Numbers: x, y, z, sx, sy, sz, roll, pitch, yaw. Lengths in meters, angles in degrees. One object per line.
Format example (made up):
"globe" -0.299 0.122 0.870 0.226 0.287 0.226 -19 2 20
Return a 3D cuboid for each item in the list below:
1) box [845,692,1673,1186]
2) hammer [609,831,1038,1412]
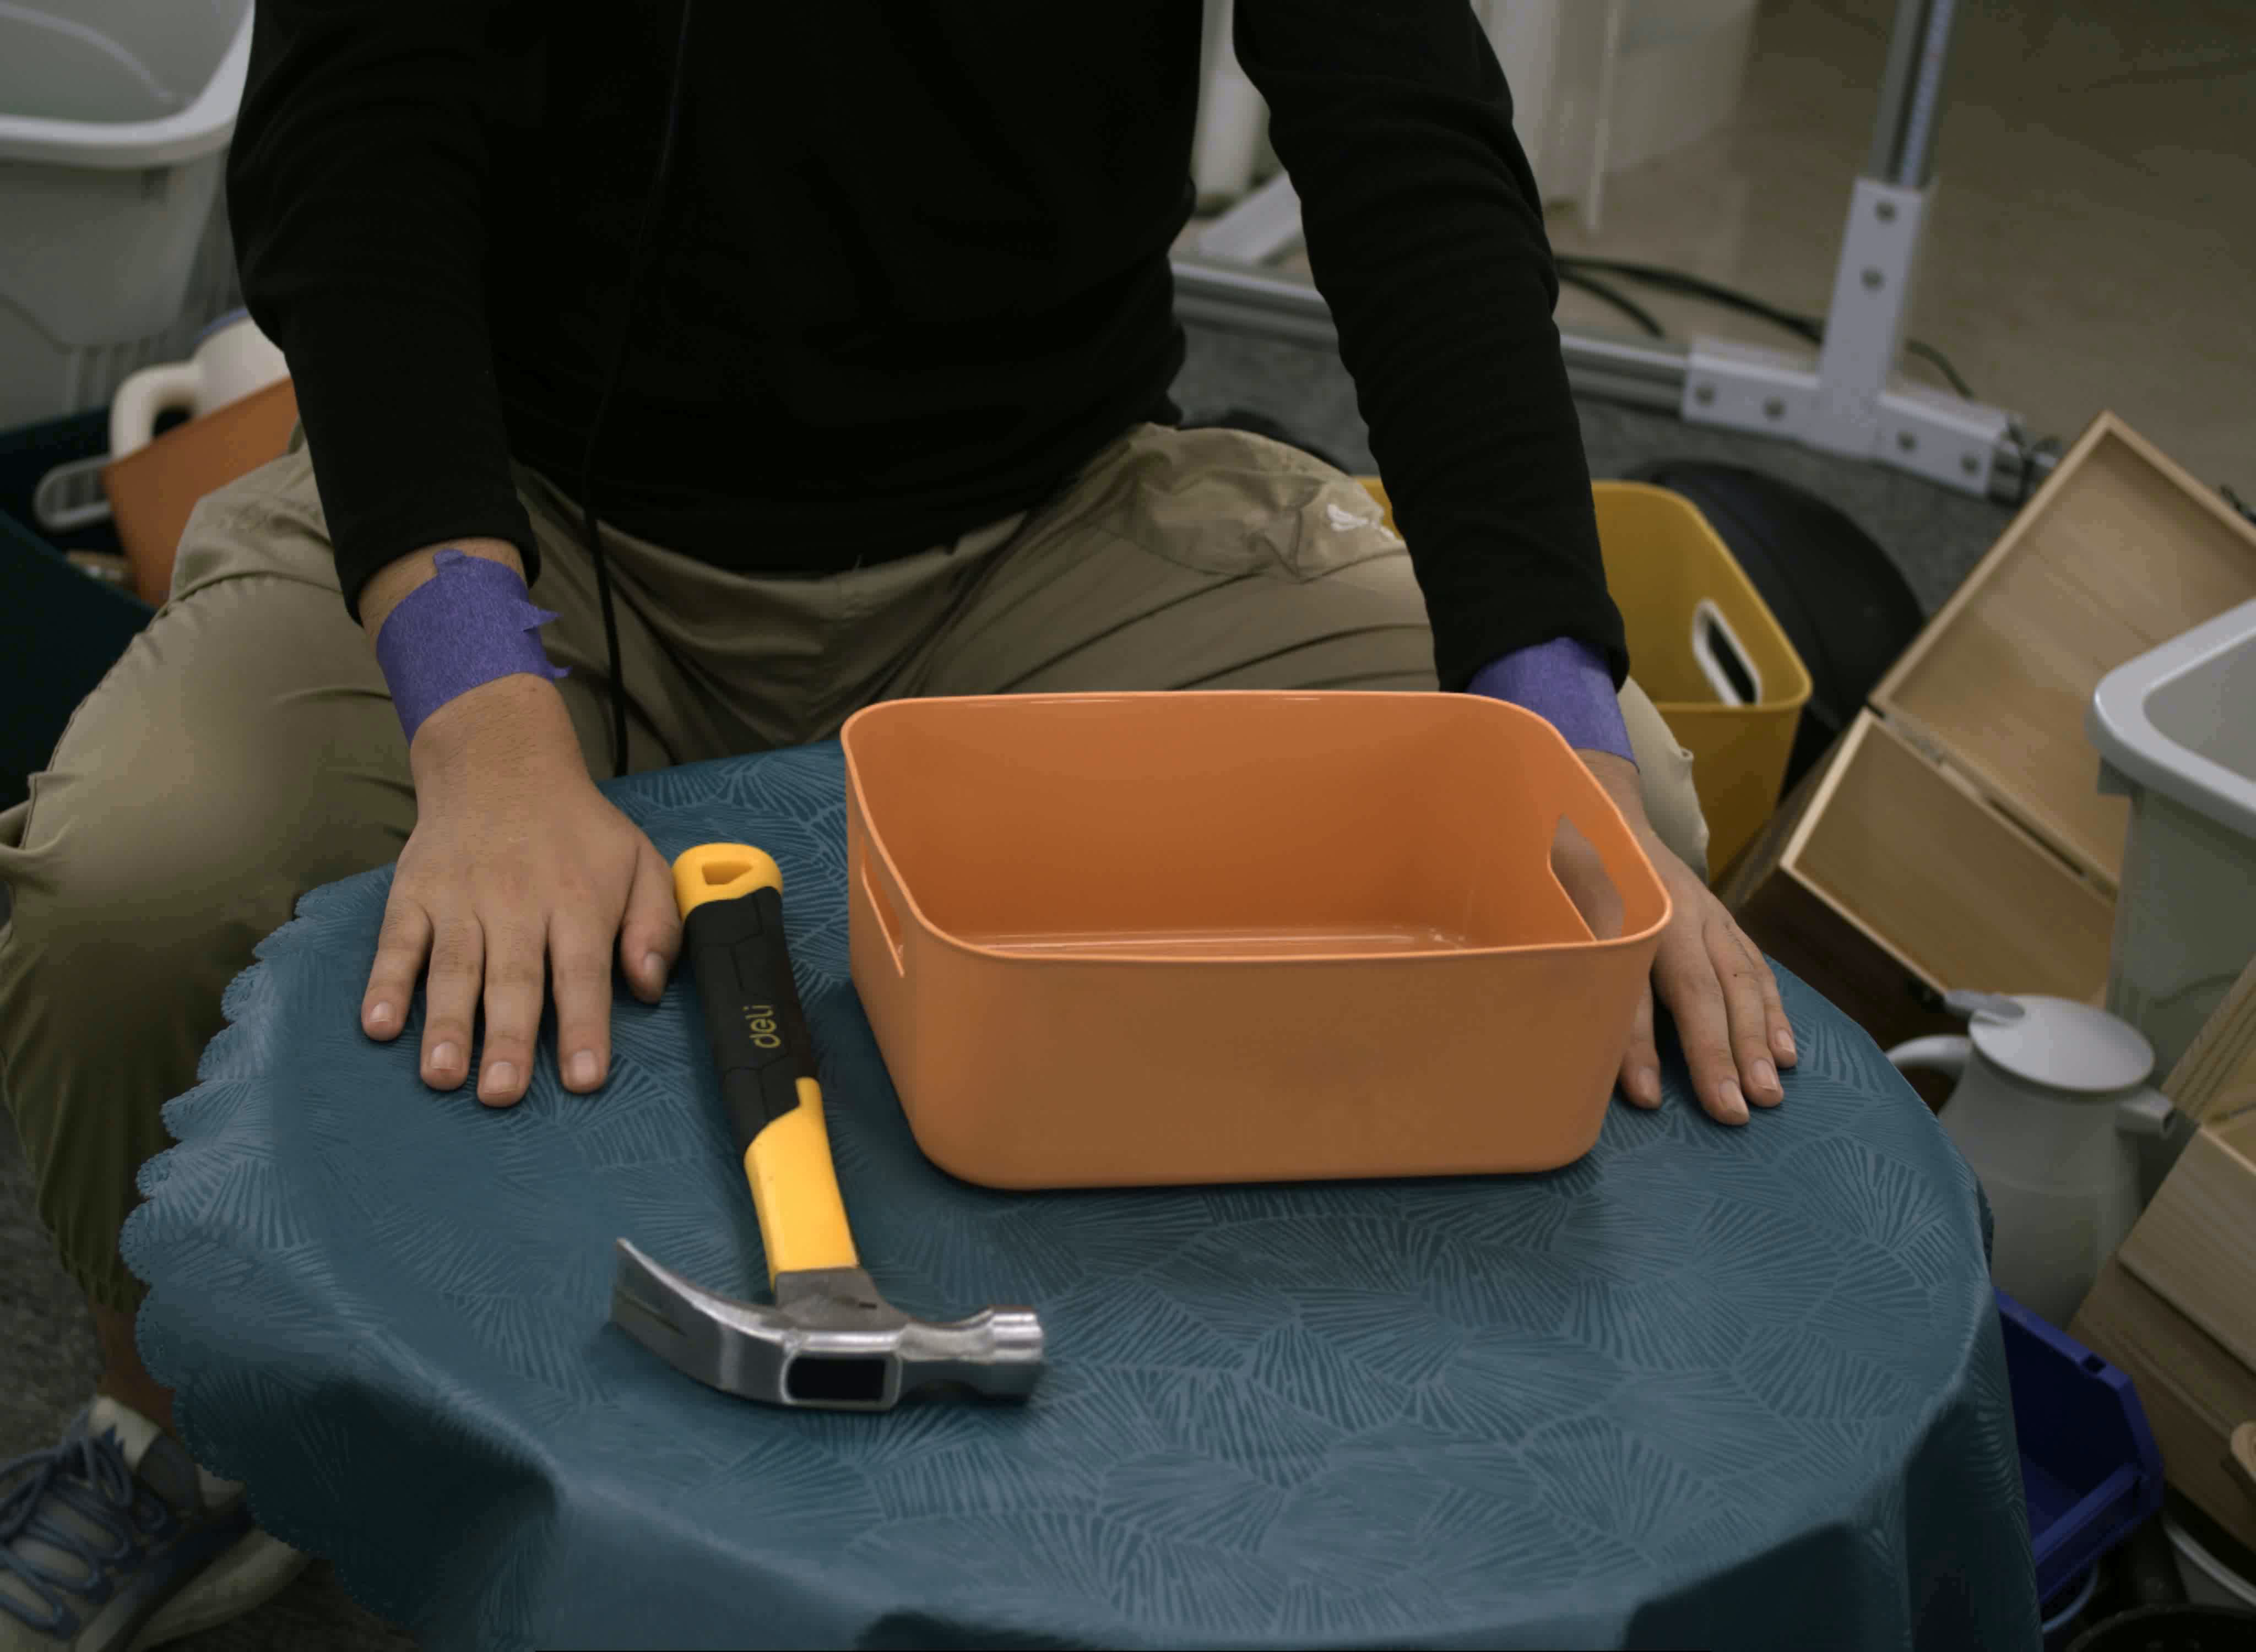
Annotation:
"box" 0.037 0.040 1.865 0.271 0.102 0.201 -1 27 -15
"hammer" -0.119 0.091 1.803 0.131 0.032 0.341 1 28 -11
